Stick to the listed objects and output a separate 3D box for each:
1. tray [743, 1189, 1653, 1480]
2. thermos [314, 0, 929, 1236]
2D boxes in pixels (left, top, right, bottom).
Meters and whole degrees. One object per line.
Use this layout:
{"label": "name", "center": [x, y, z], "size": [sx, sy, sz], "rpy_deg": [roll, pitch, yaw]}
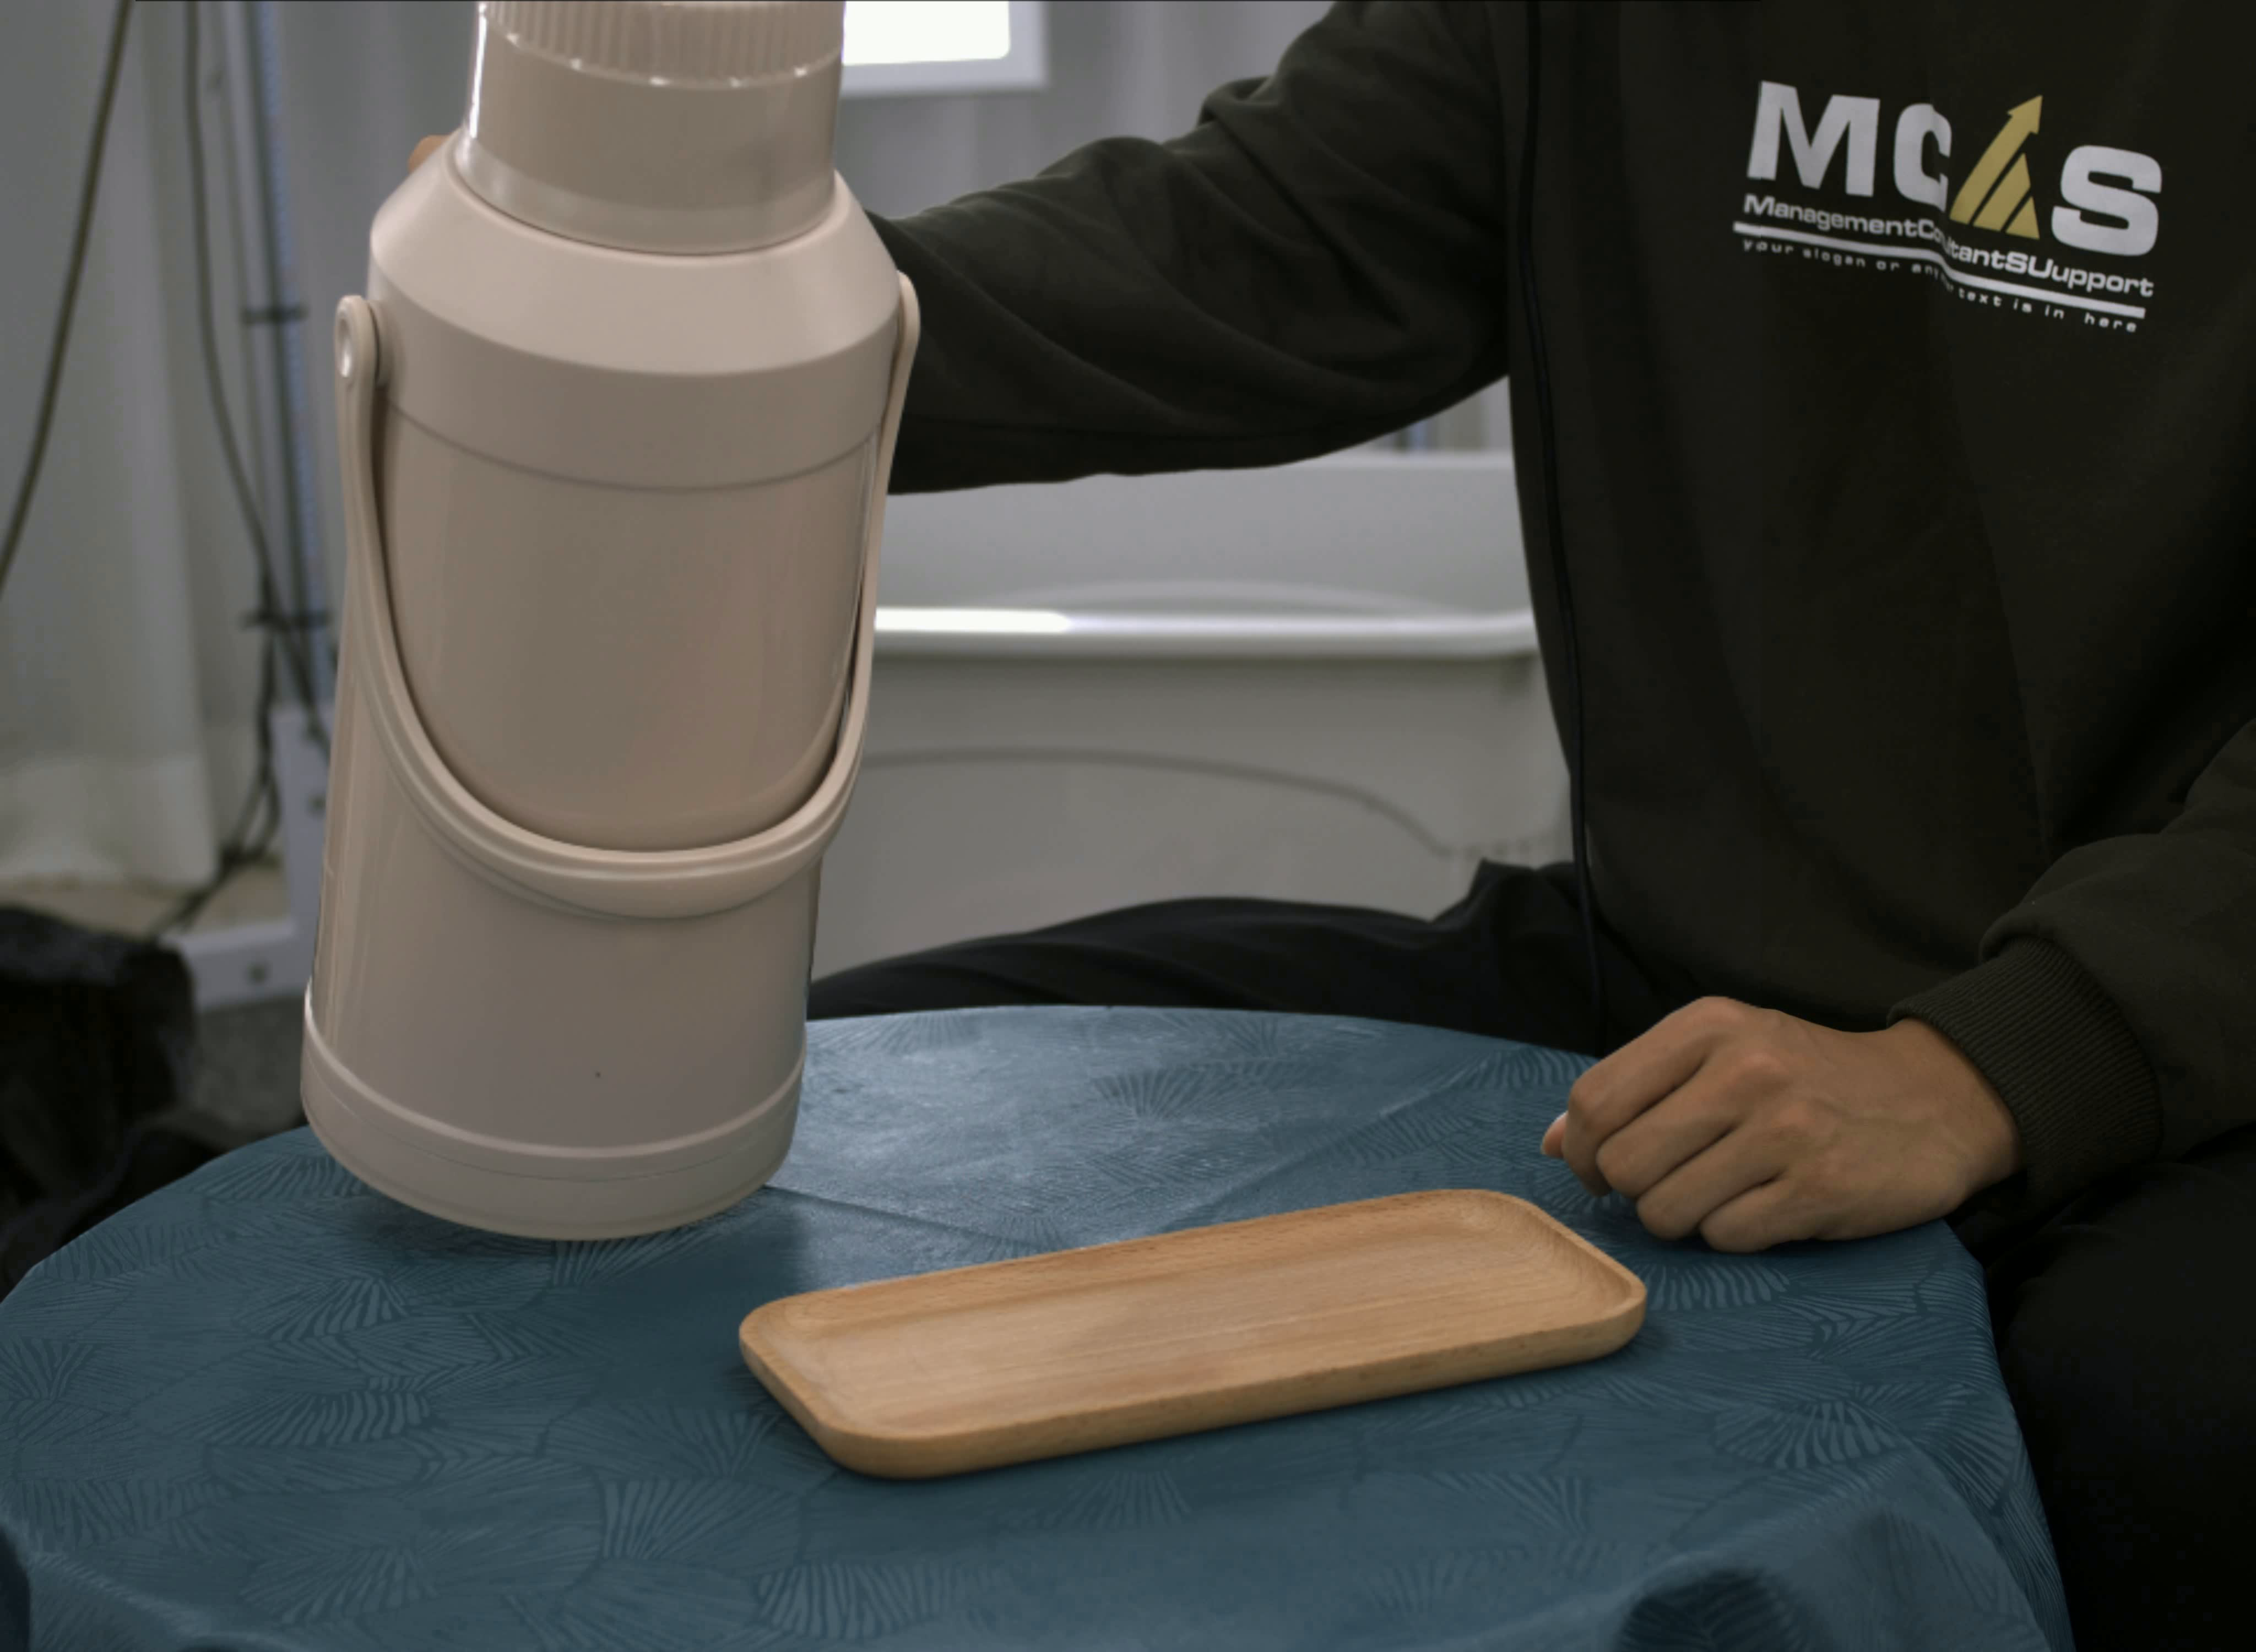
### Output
{"label": "tray", "center": [0.020, 0.145, 1.571], "size": [0.249, 0.023, 0.132], "rpy_deg": [-7, 18, -18]}
{"label": "thermos", "center": [-0.159, -0.091, 1.670], "size": [0.174, 0.402, 0.210], "rpy_deg": [-6, 32, -24]}
